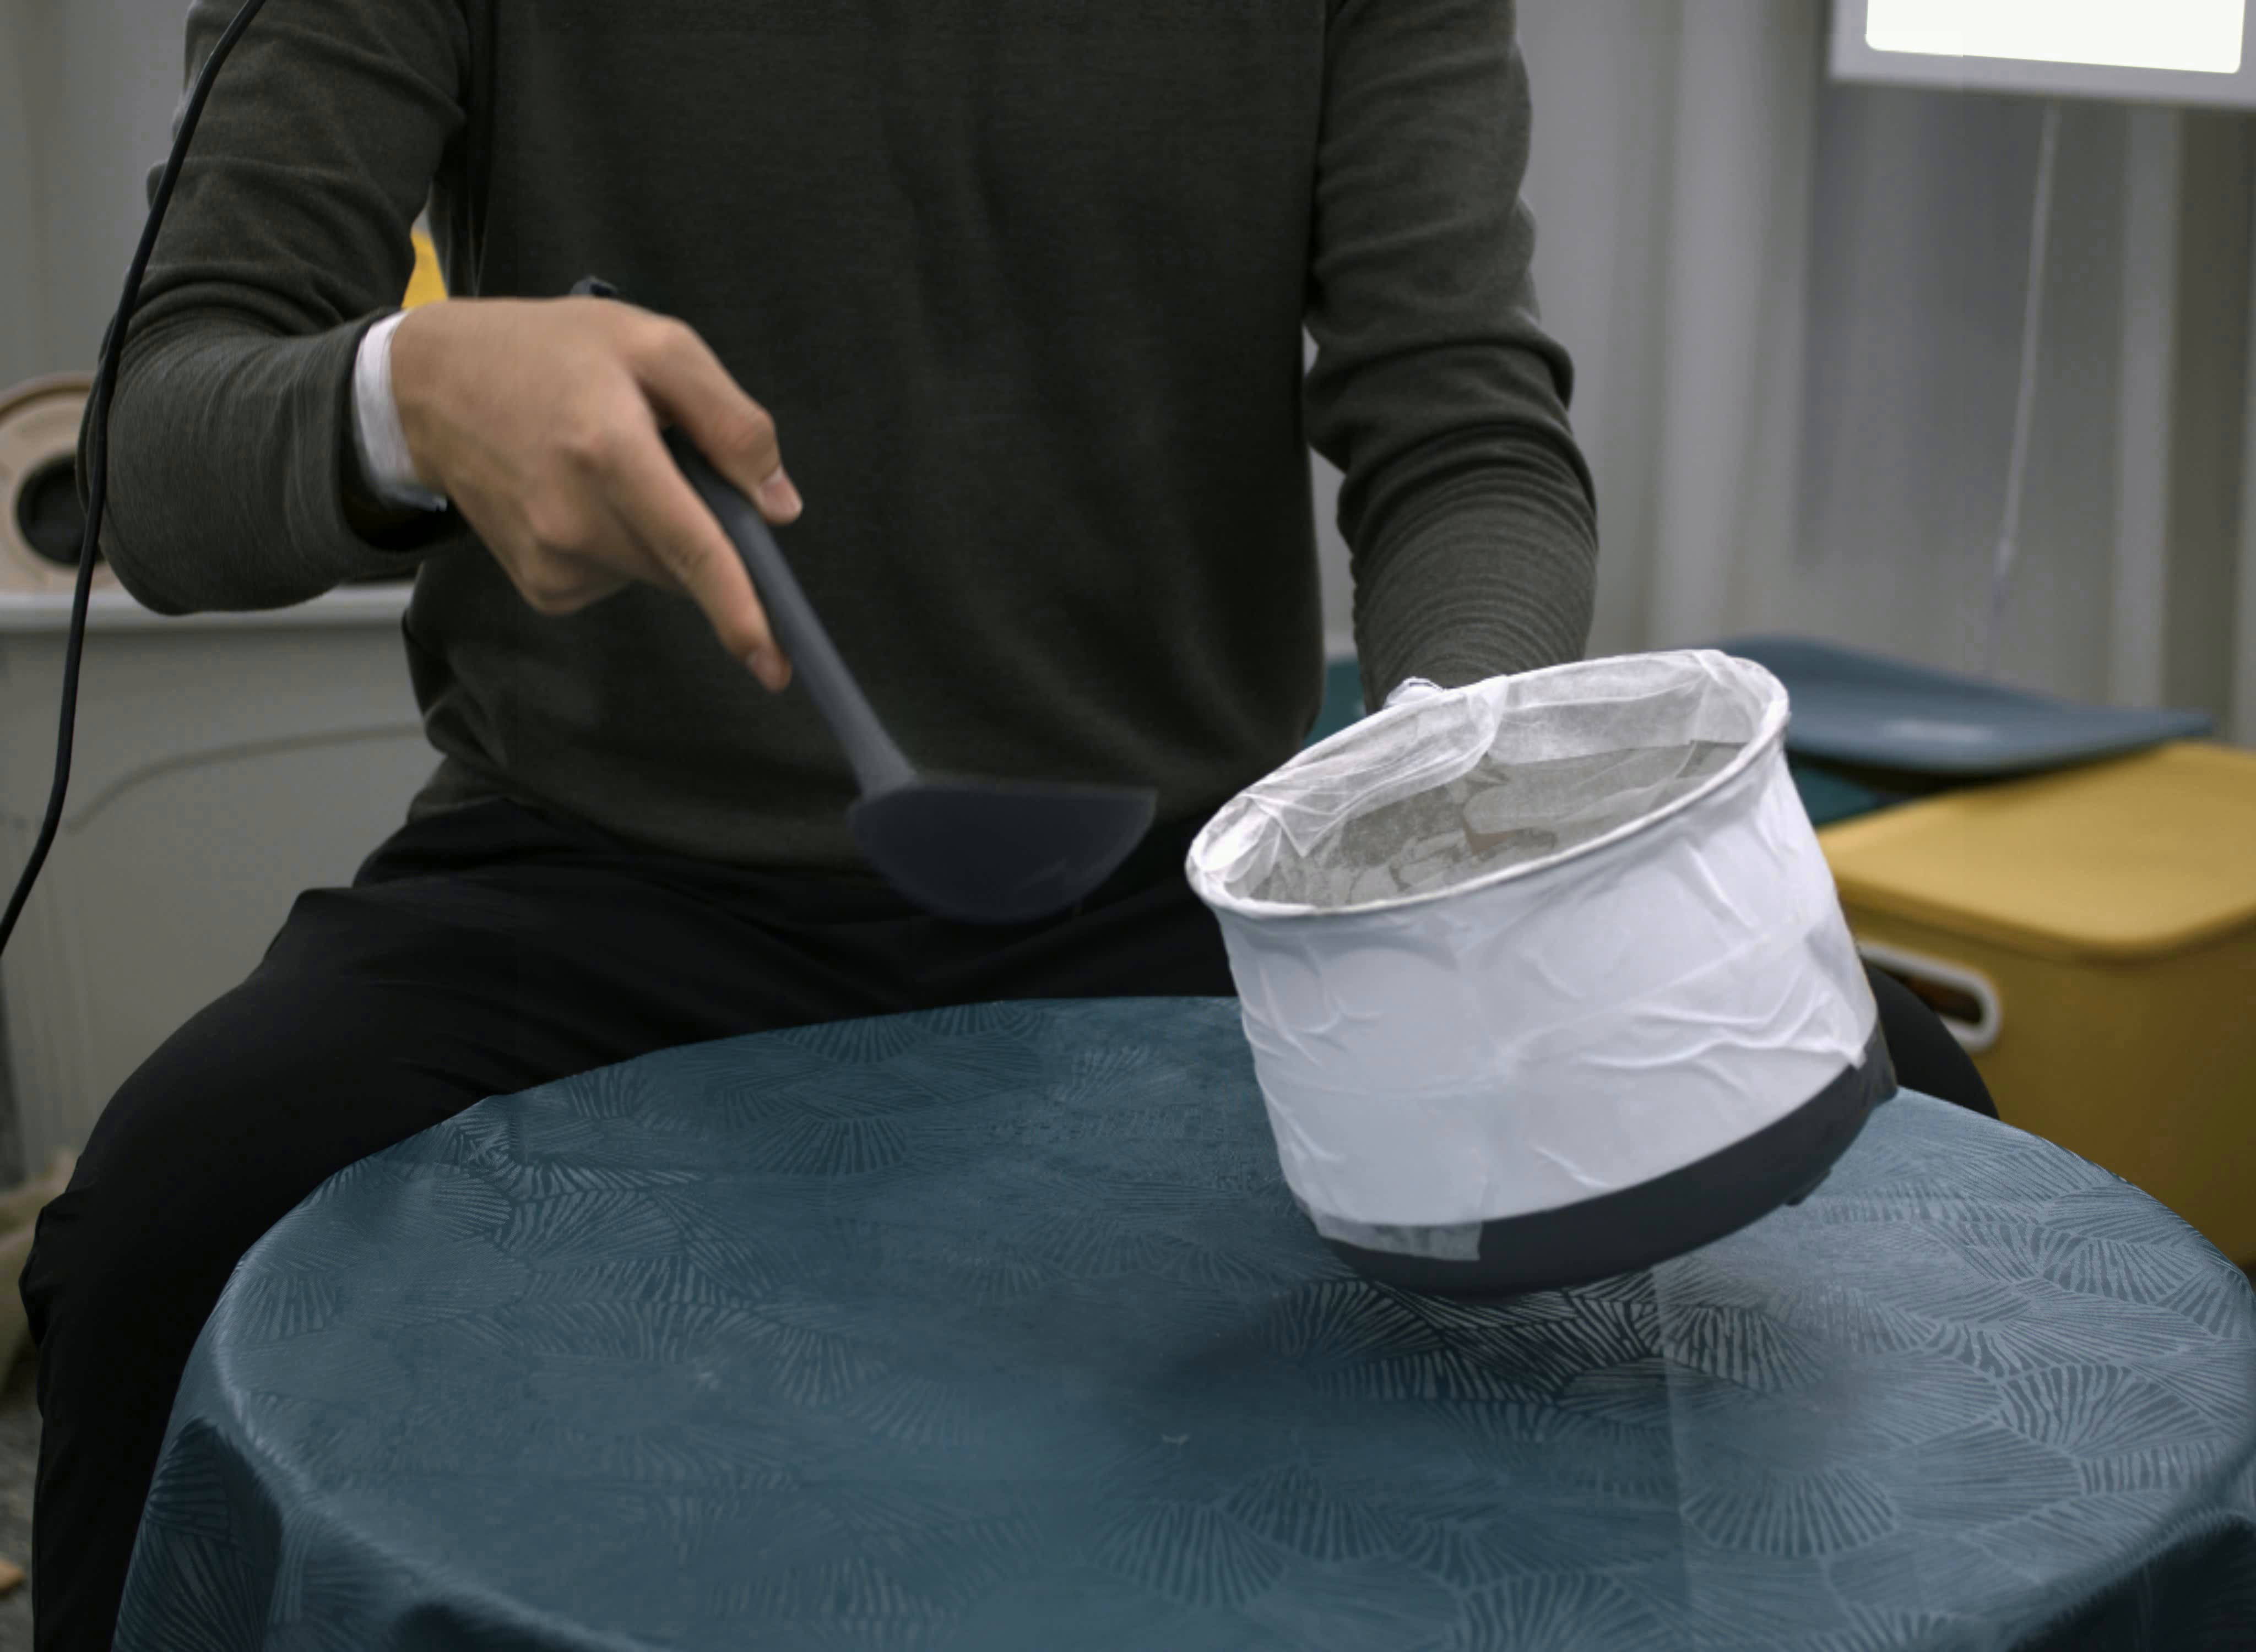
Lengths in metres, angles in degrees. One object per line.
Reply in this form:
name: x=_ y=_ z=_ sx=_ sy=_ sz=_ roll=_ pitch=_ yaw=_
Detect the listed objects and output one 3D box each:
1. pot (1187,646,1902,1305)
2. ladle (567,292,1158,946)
pot: x=0.115 y=0.036 z=1.521 sx=0.178 sy=0.138 sz=0.232 roll=-19 pitch=17 yaw=-5
ladle: x=-0.091 y=-0.076 z=1.490 sx=0.087 sy=0.064 sz=0.310 roll=6 pitch=37 yaw=-38
